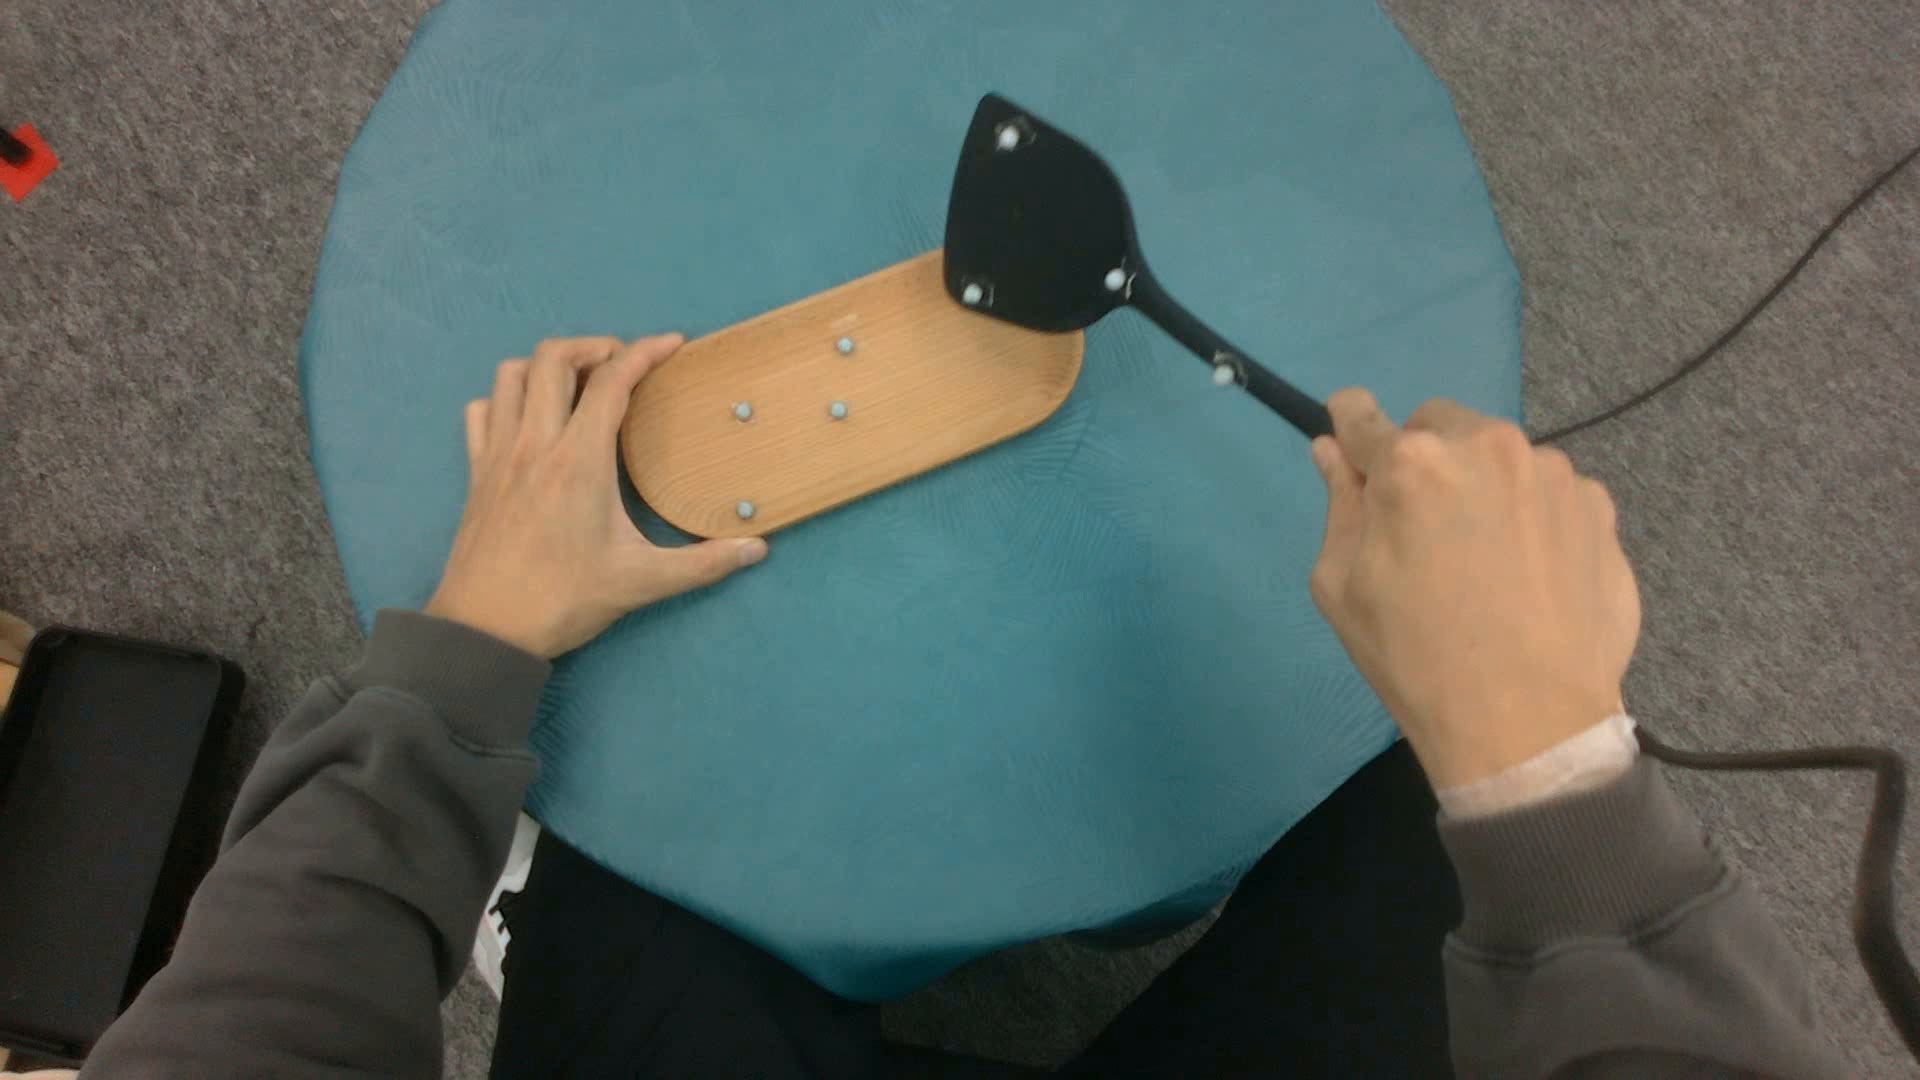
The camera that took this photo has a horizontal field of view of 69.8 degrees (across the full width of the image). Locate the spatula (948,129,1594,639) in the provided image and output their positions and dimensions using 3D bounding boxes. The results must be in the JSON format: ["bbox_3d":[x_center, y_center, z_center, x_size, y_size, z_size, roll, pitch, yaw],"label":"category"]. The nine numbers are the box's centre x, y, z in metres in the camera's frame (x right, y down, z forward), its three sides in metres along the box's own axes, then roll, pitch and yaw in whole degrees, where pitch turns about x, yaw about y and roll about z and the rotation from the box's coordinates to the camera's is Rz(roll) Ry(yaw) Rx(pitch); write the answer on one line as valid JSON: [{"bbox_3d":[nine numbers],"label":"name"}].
[{"bbox_3d":[0.107,-0.059,0.550,0.040,0.099,0.326,-17,45,-33],"label":"spatula"}]

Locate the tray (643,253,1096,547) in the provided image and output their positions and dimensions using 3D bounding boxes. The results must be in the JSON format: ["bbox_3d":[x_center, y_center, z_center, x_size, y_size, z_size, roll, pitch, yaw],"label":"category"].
[{"bbox_3d":[-0.043,-0.071,0.682,0.231,0.020,0.102,-22,82,-7],"label":"tray"}]
